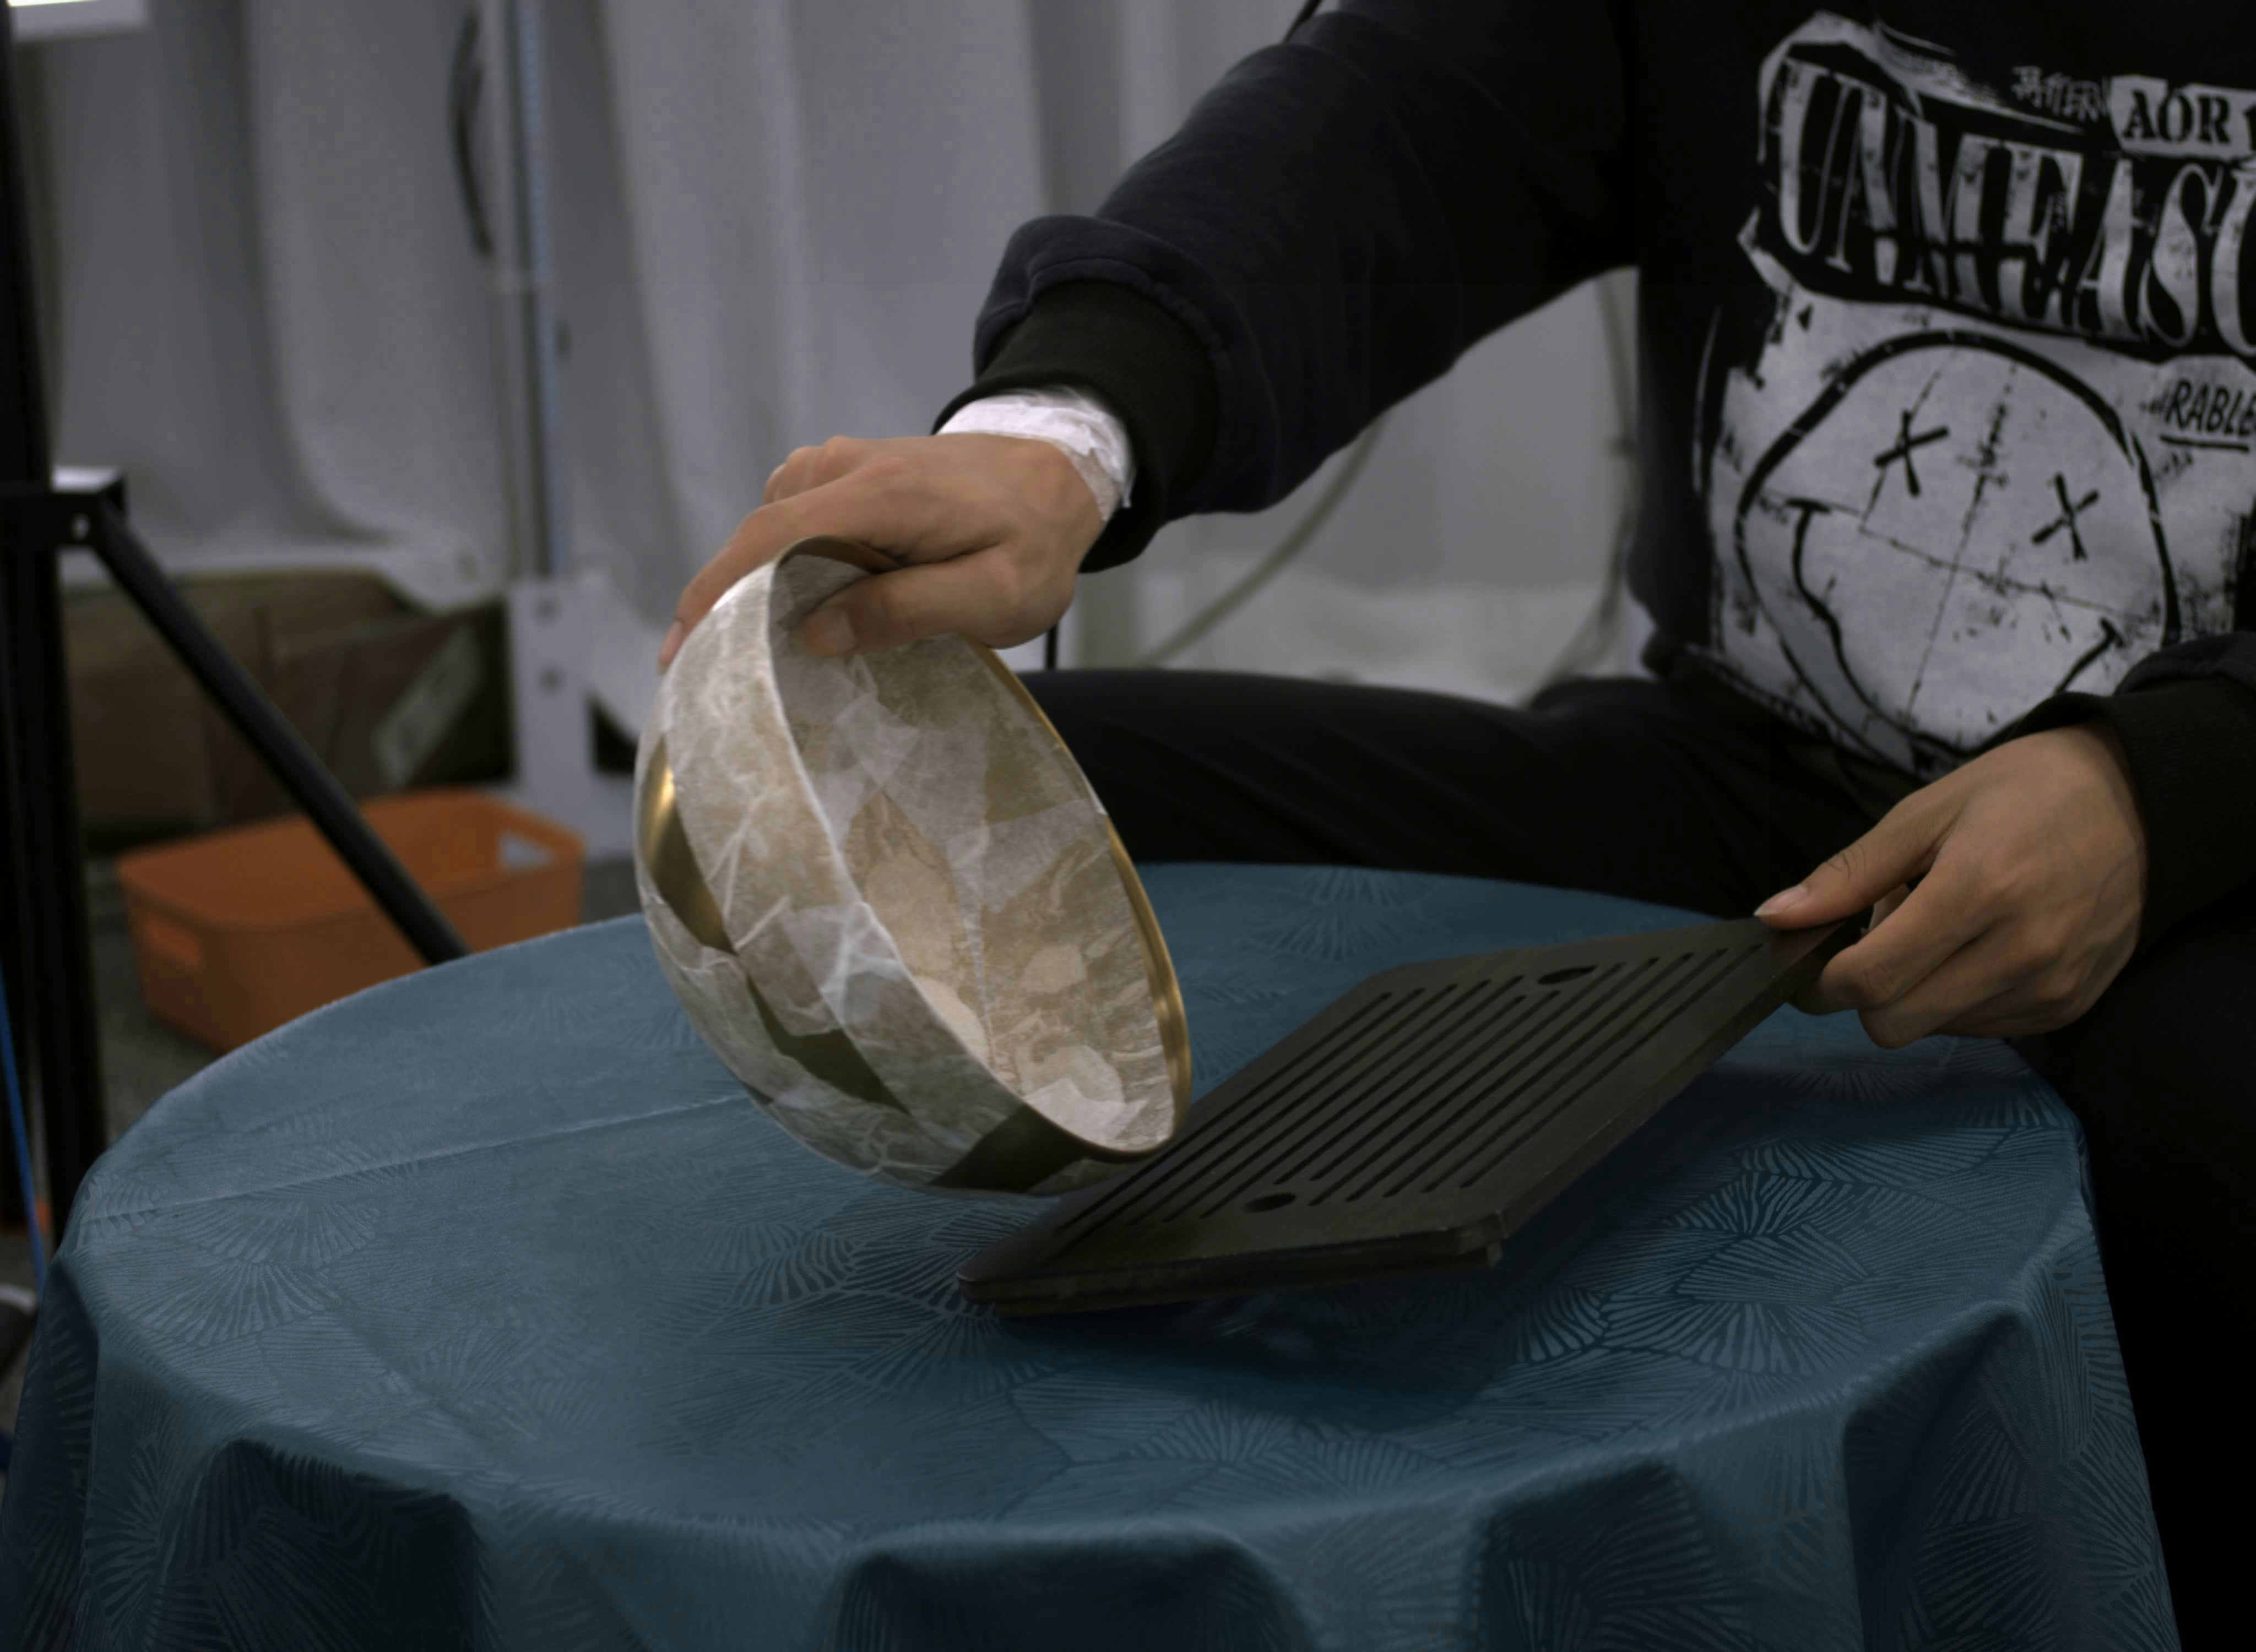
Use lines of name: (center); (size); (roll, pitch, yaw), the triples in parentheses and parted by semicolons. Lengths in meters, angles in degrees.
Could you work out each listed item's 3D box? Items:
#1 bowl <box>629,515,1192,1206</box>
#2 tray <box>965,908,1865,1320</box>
bowl: (-0.074, 0.028, 1.499); (0.095, 0.214, 0.213); (-32, 6, 19)
tray: (0.092, 0.082, 1.536); (0.173, 0.018, 0.301); (-9, 11, 30)
